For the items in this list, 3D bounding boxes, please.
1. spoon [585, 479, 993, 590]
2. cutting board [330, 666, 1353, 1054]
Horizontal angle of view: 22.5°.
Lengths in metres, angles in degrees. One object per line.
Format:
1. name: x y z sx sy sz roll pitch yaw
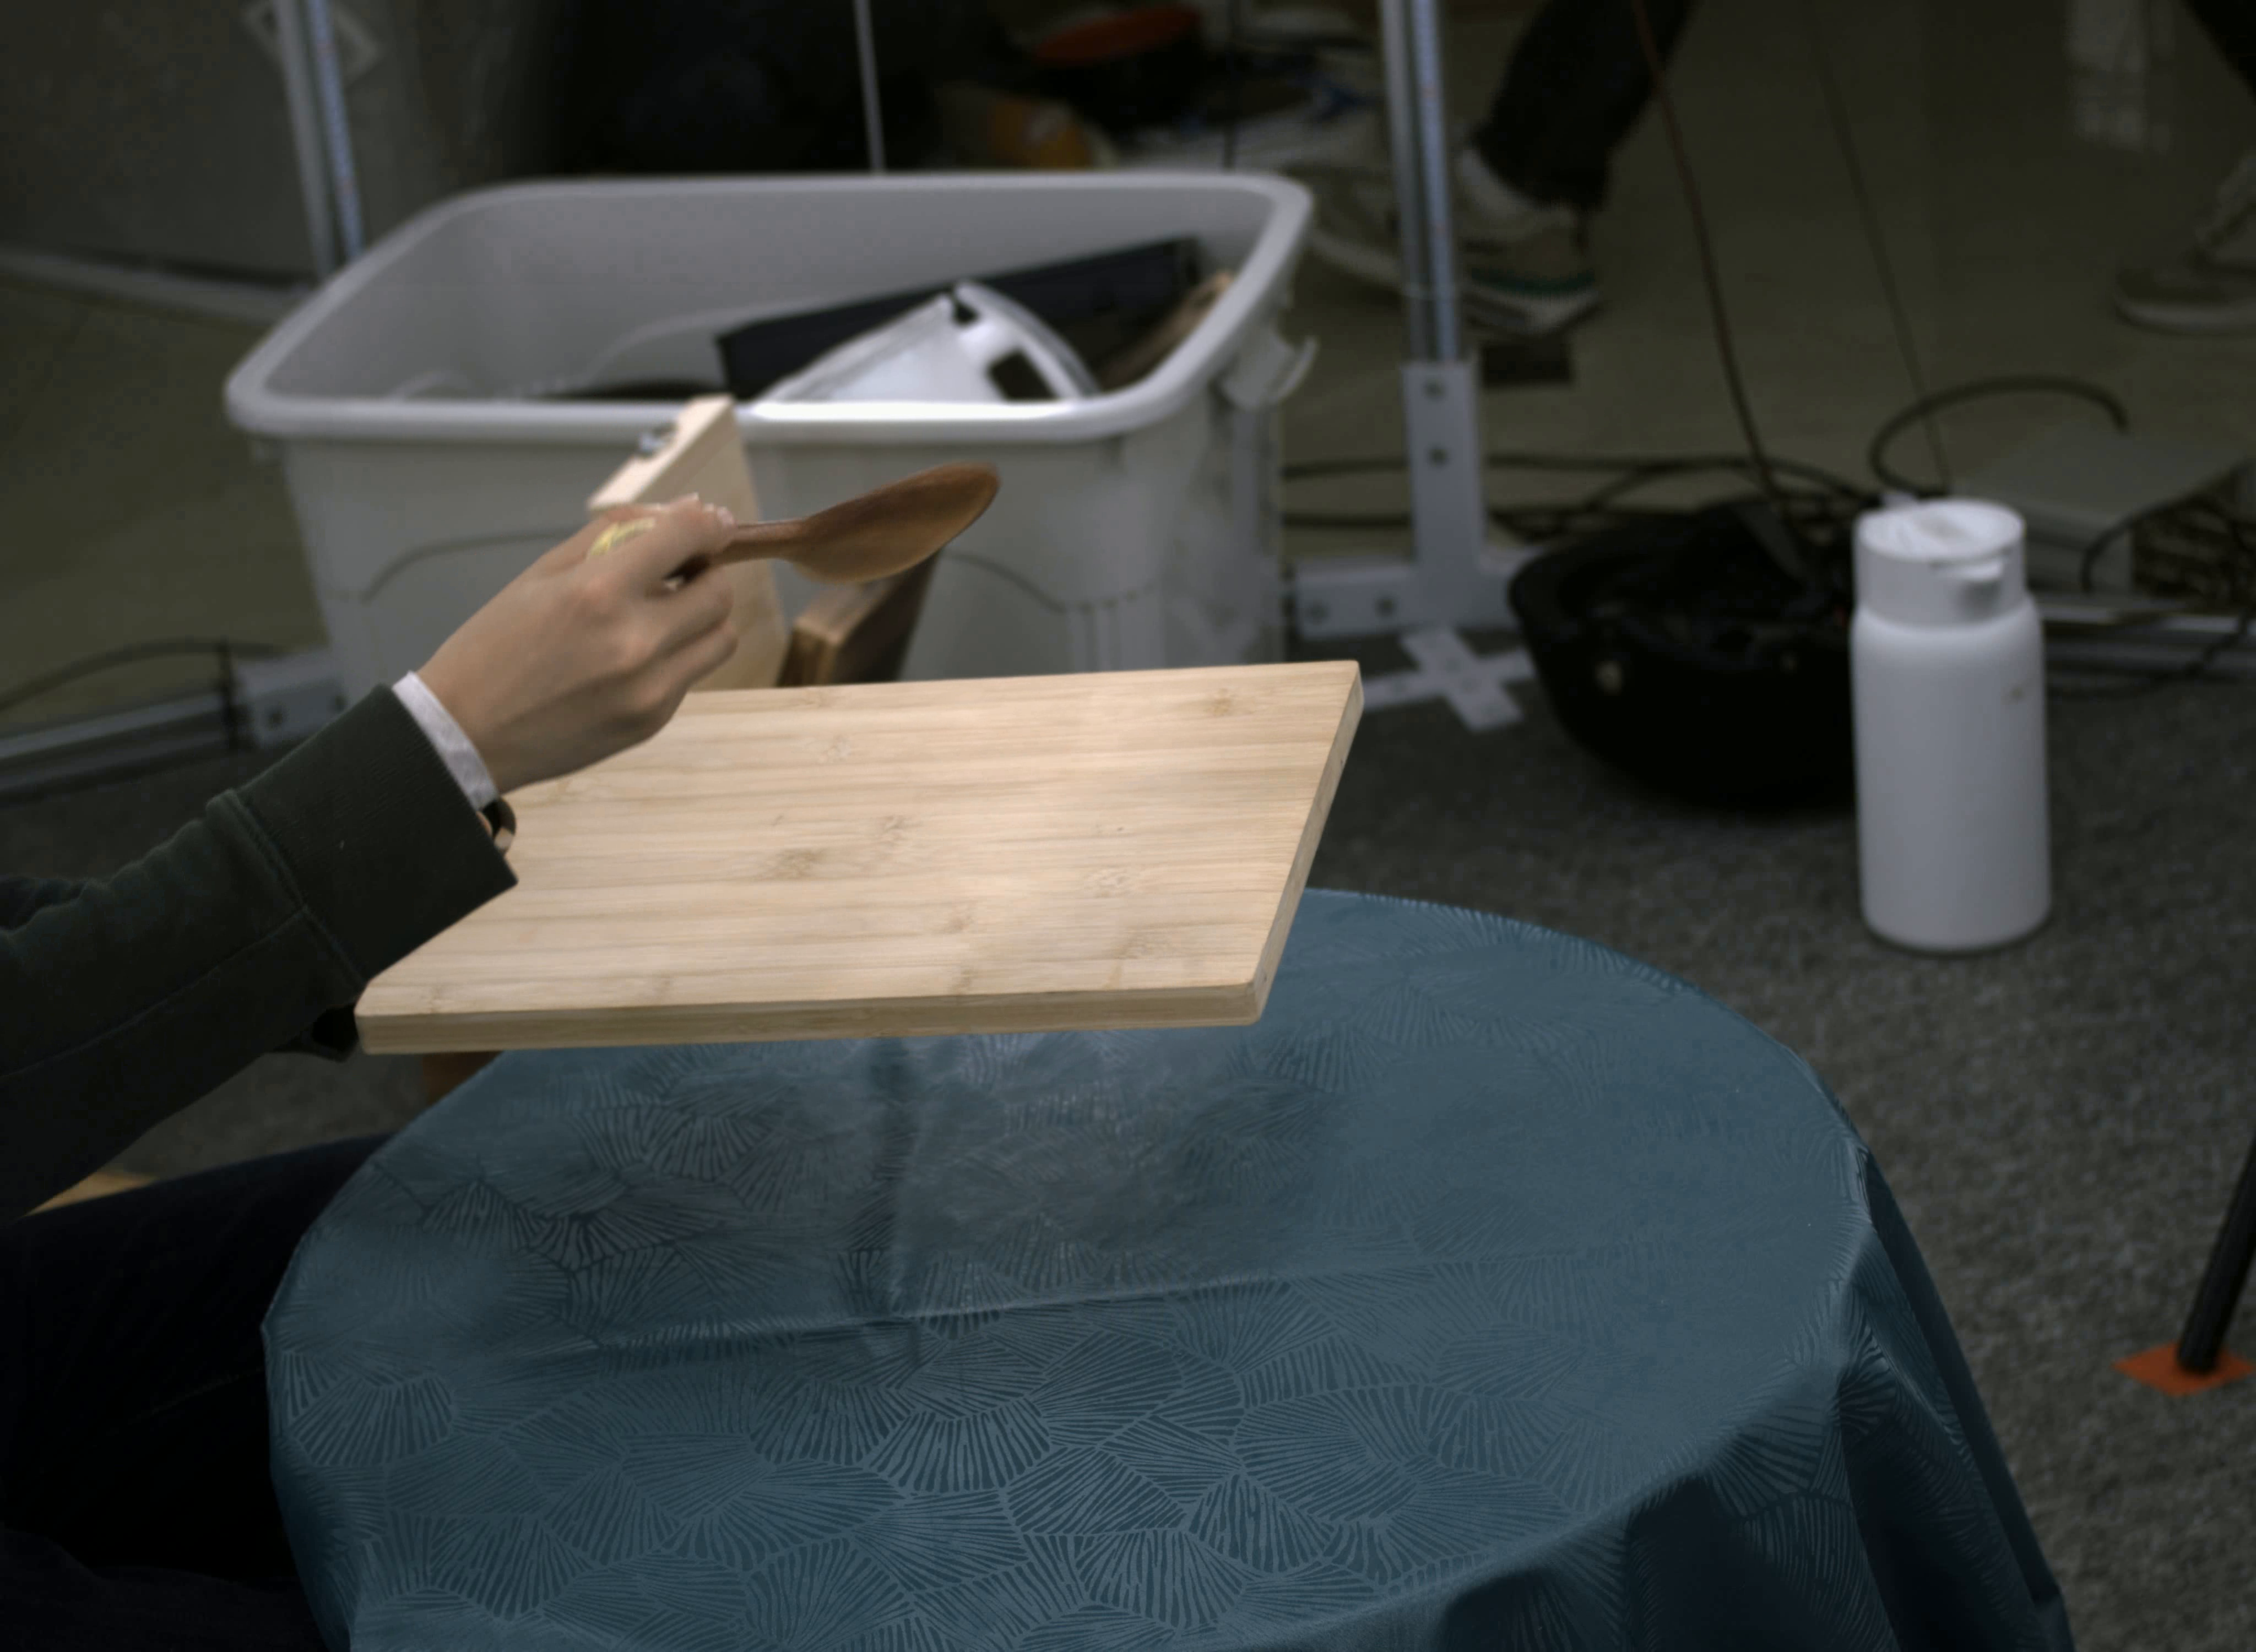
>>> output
1. spoon: -0.119 -0.099 1.964 0.076 0.017 0.215 -30 -13 30
2. cutting board: -0.103 0.012 2.136 0.348 0.024 0.247 -3 29 14
